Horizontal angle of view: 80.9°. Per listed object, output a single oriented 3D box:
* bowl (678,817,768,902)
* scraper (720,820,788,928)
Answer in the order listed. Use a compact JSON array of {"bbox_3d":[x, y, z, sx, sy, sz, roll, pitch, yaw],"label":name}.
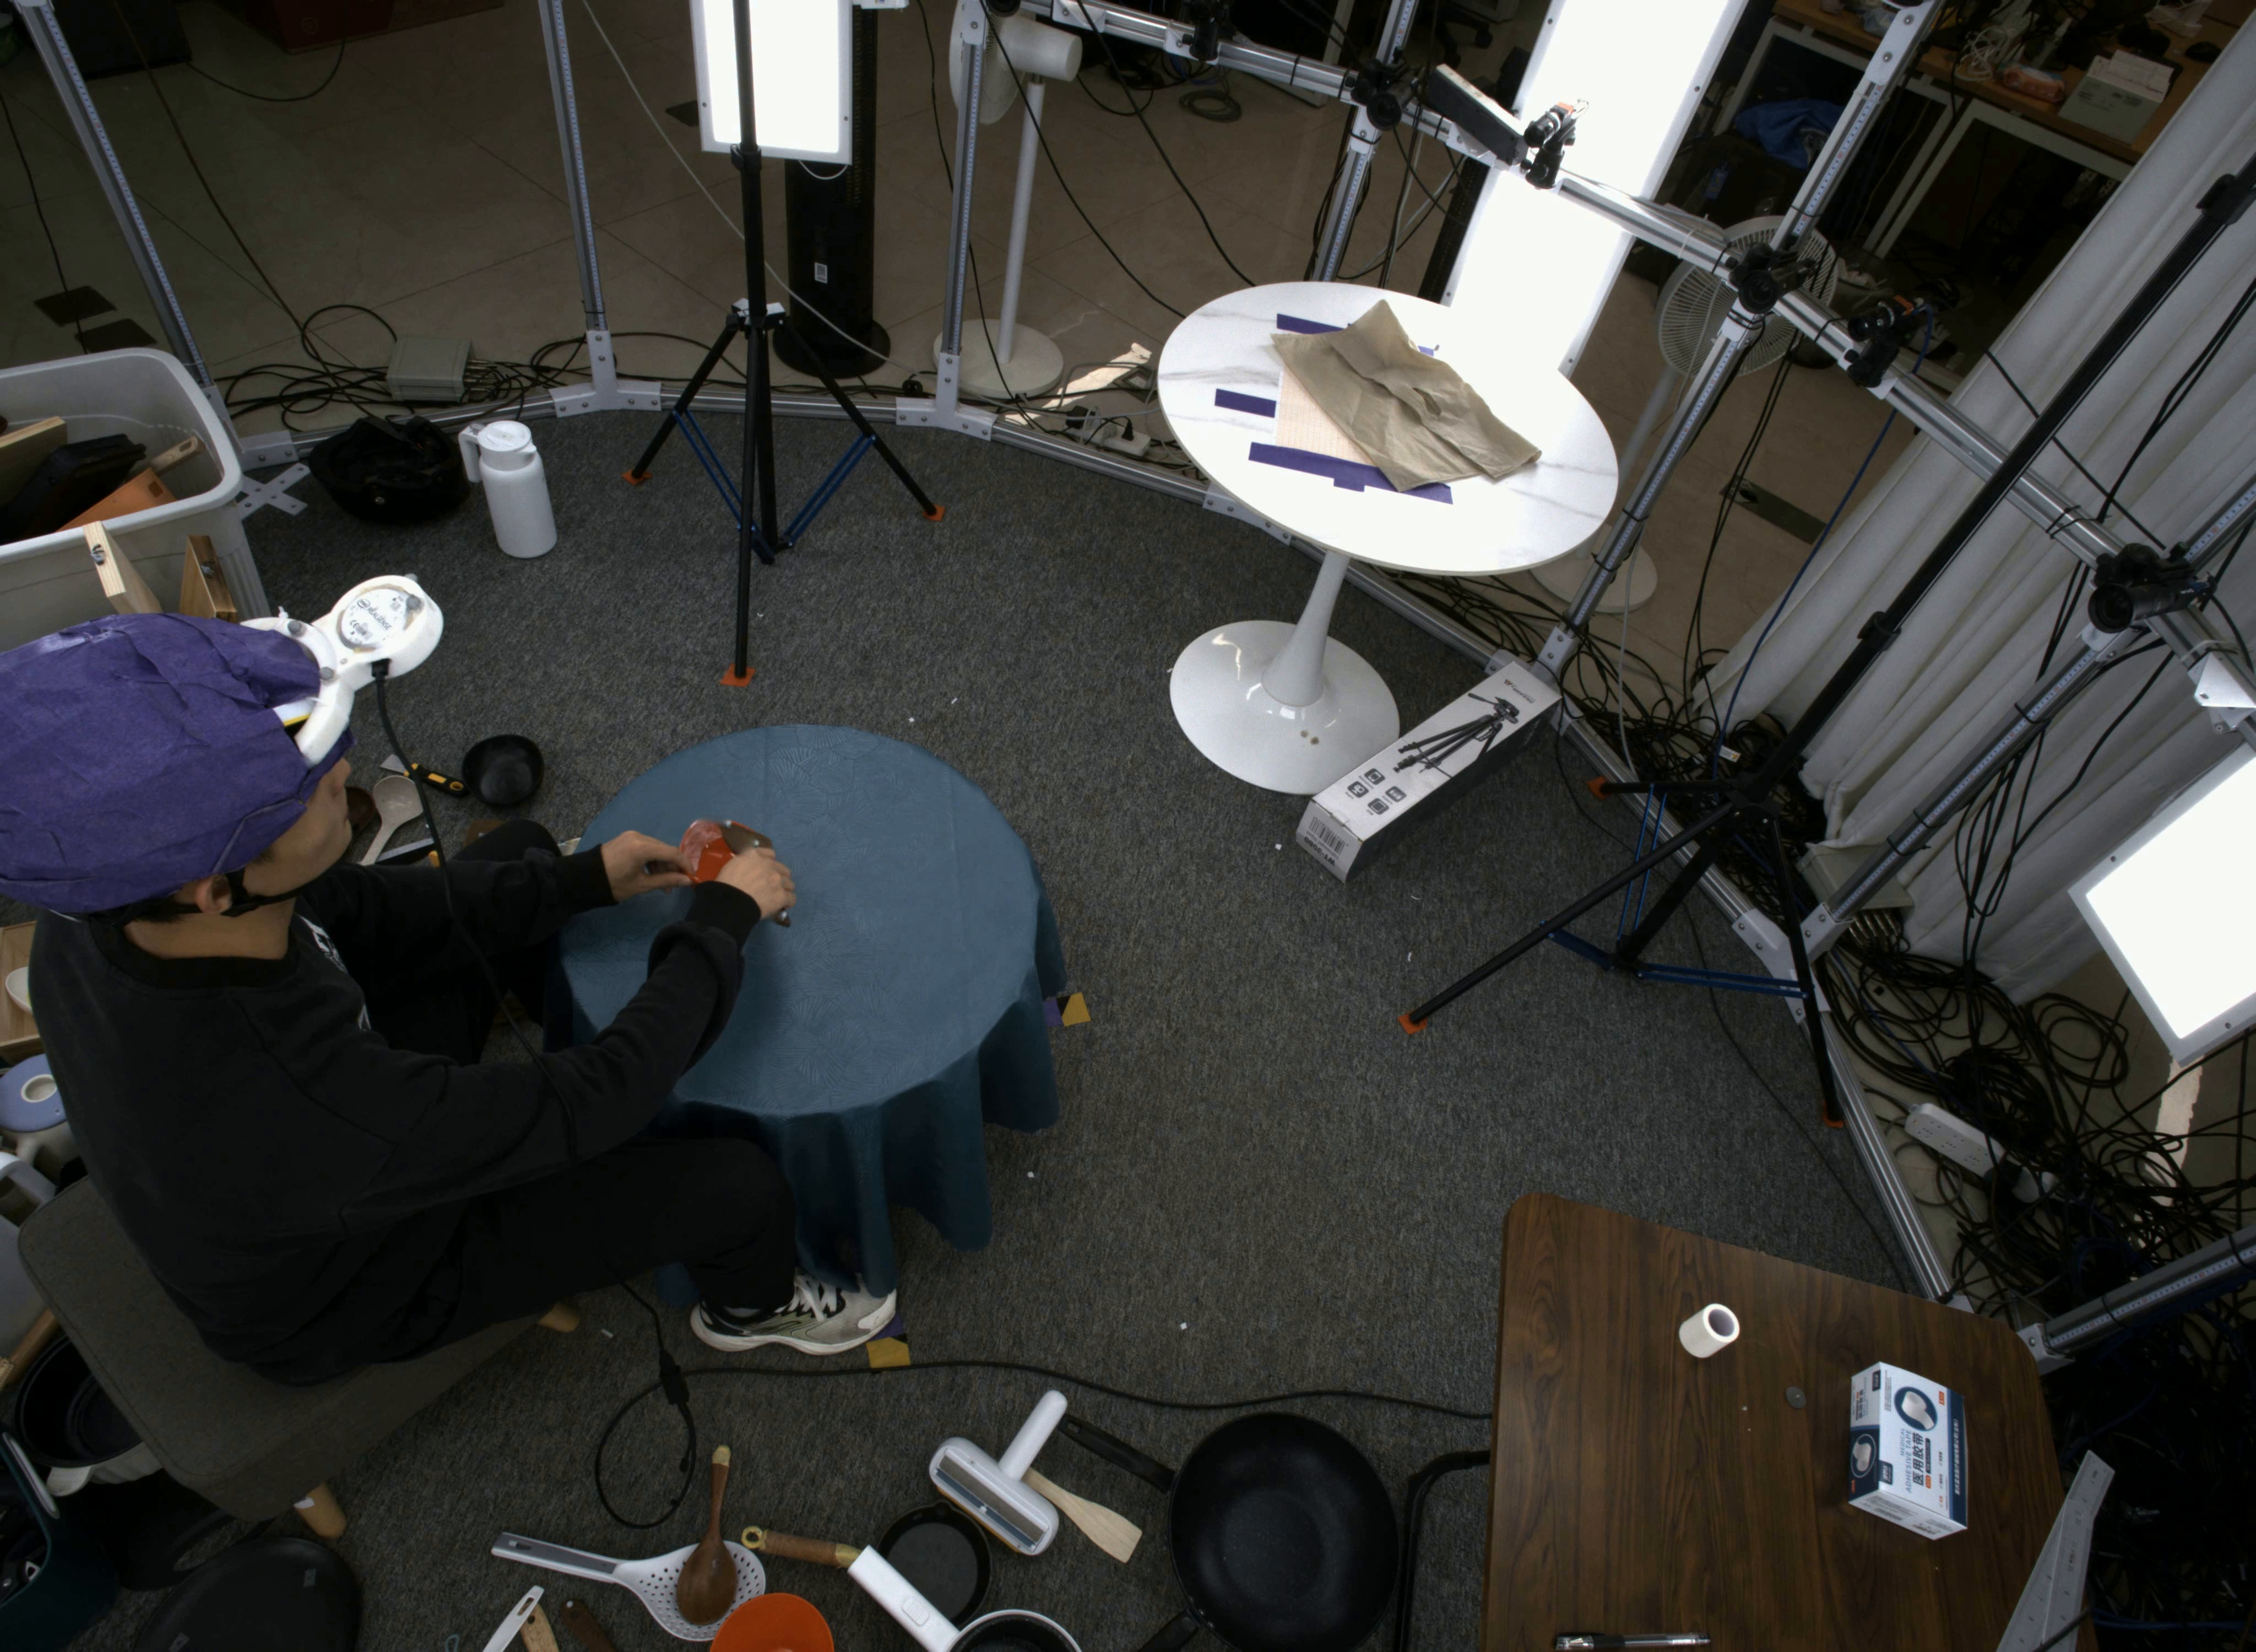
[{"bbox_3d":[-0.513,0.049,1.627,0.121,0.051,0.116,20,46,-21],"label":"bowl"},{"bbox_3d":[-0.441,0.058,1.551,0.078,0.011,0.204,32,12,-41],"label":"scraper"}]
